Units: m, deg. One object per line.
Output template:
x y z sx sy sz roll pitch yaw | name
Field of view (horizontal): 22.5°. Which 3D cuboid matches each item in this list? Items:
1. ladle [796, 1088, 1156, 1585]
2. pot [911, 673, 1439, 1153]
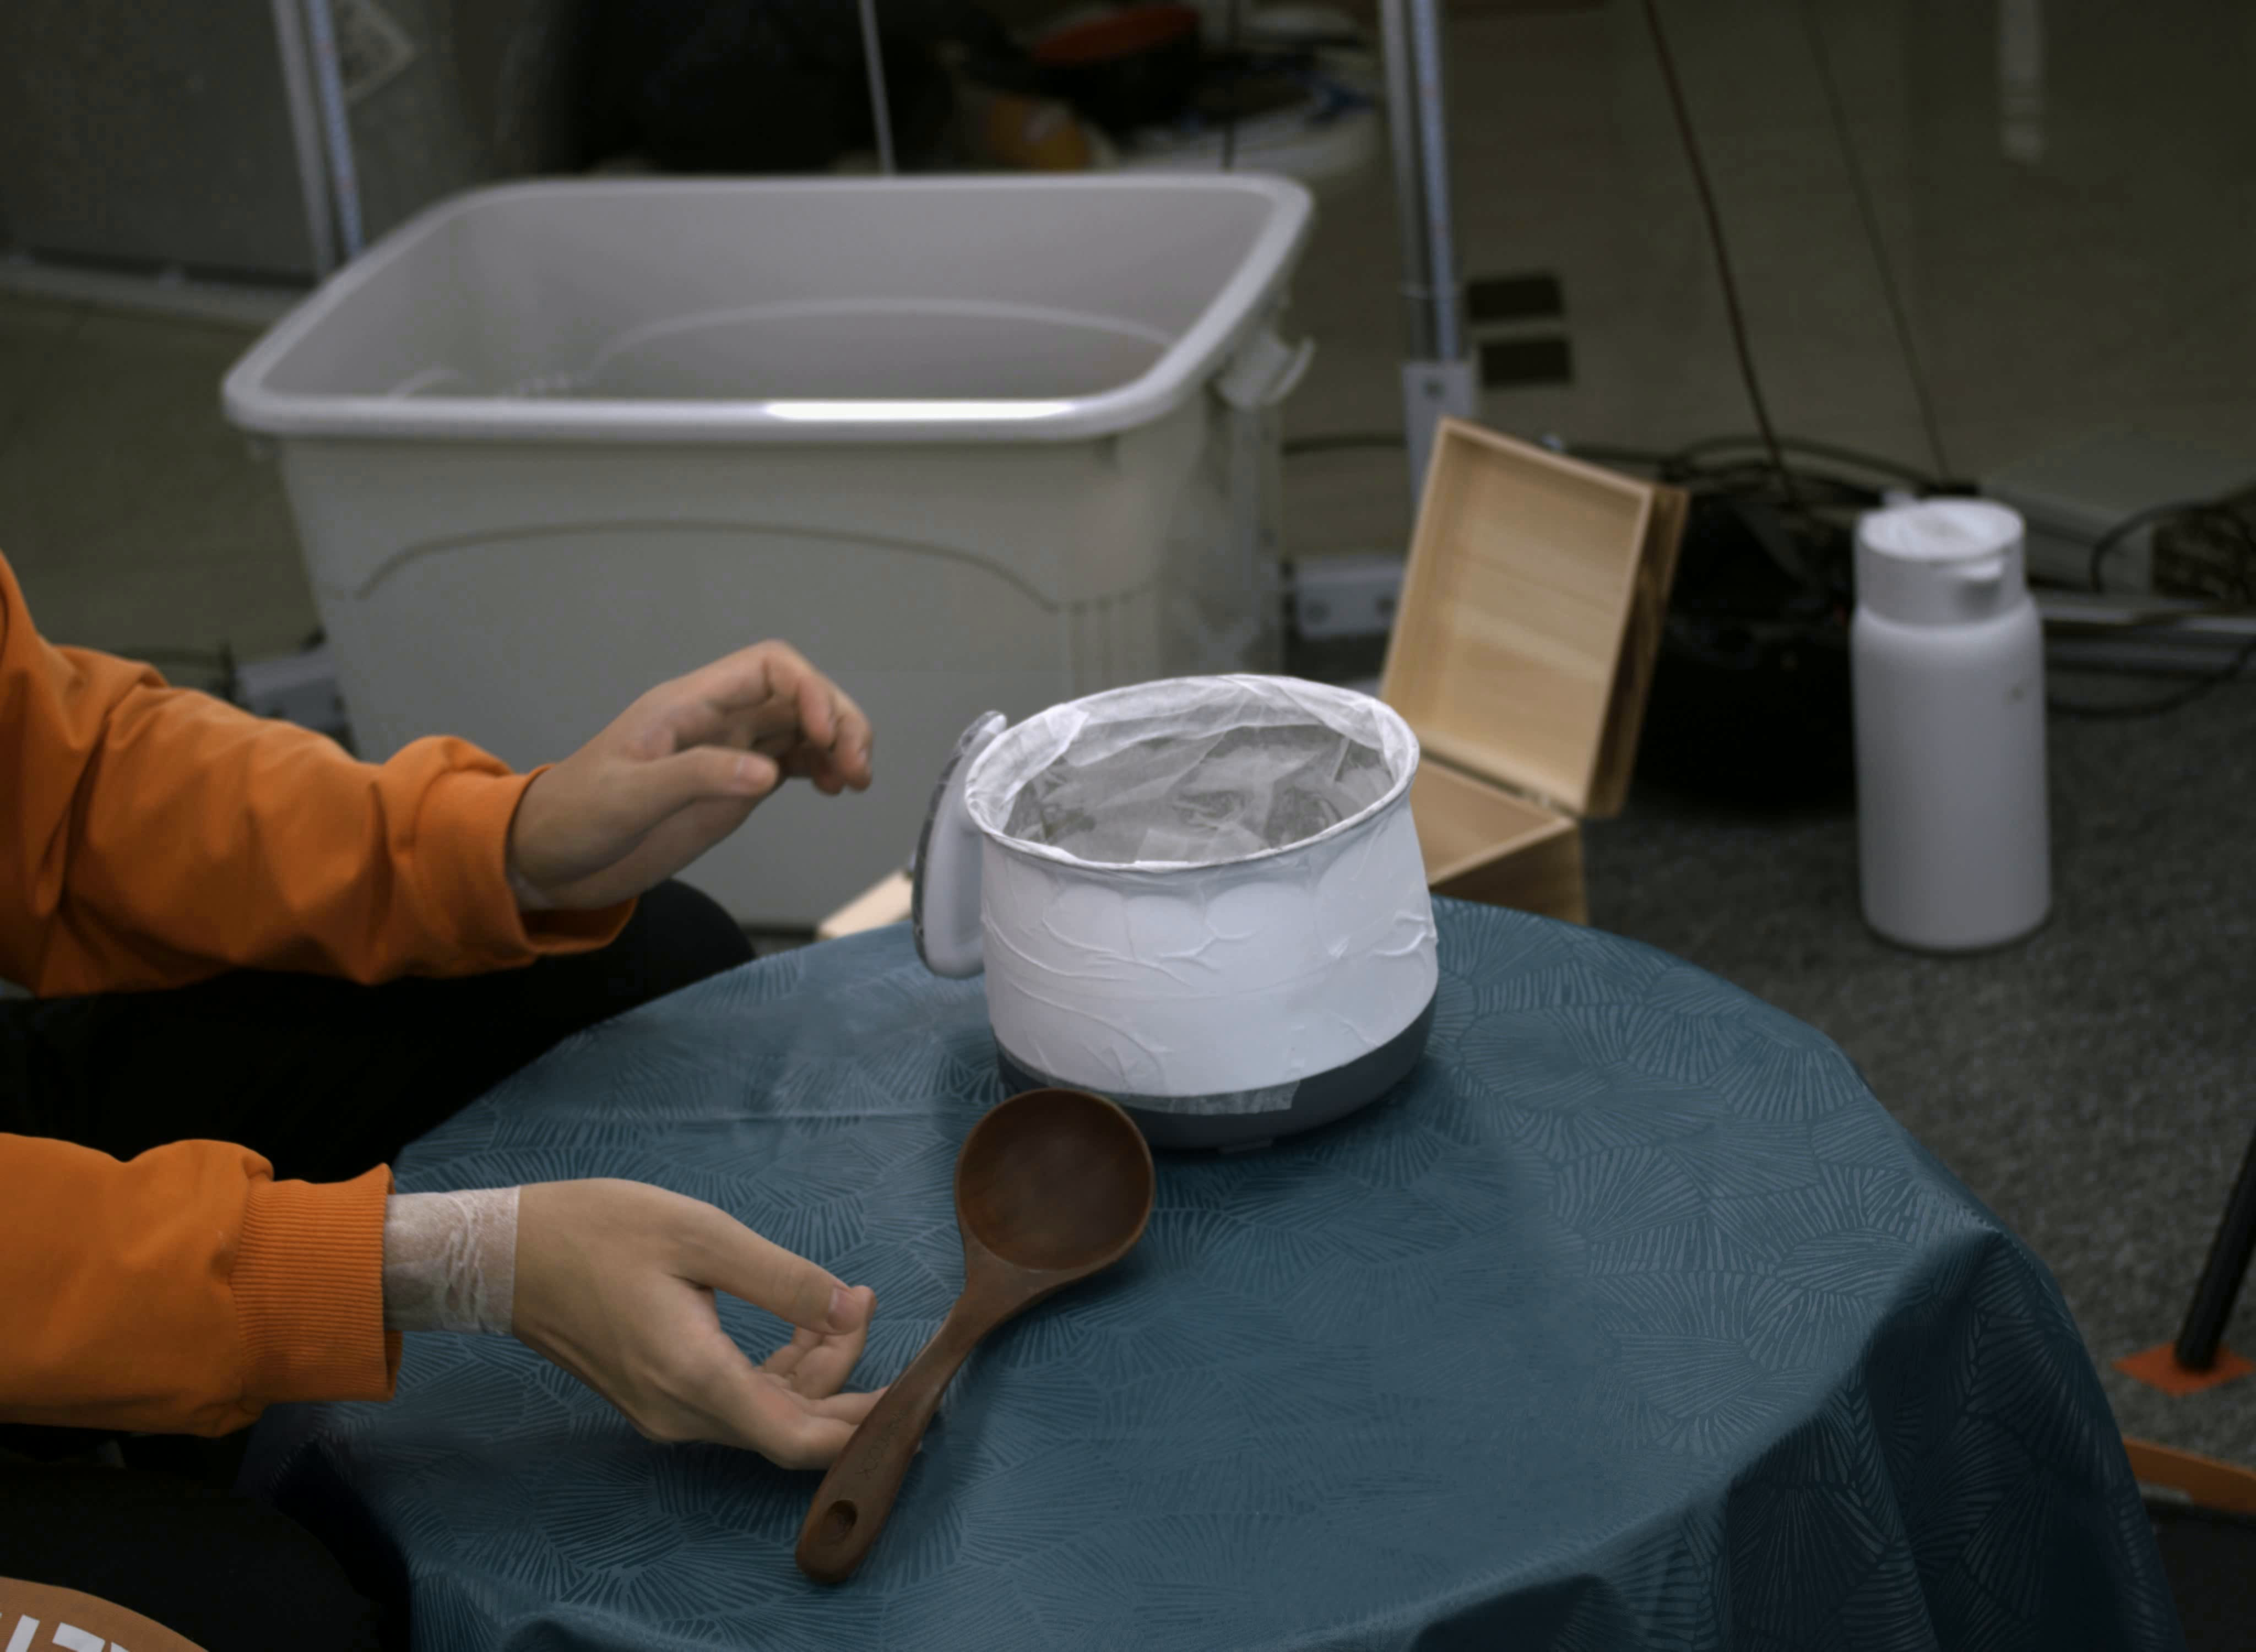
-0.059 0.176 2.008 0.076 0.066 0.257 17 30 13 | ladle
0.008 0.030 2.213 0.232 0.139 0.177 13 31 34 | pot
